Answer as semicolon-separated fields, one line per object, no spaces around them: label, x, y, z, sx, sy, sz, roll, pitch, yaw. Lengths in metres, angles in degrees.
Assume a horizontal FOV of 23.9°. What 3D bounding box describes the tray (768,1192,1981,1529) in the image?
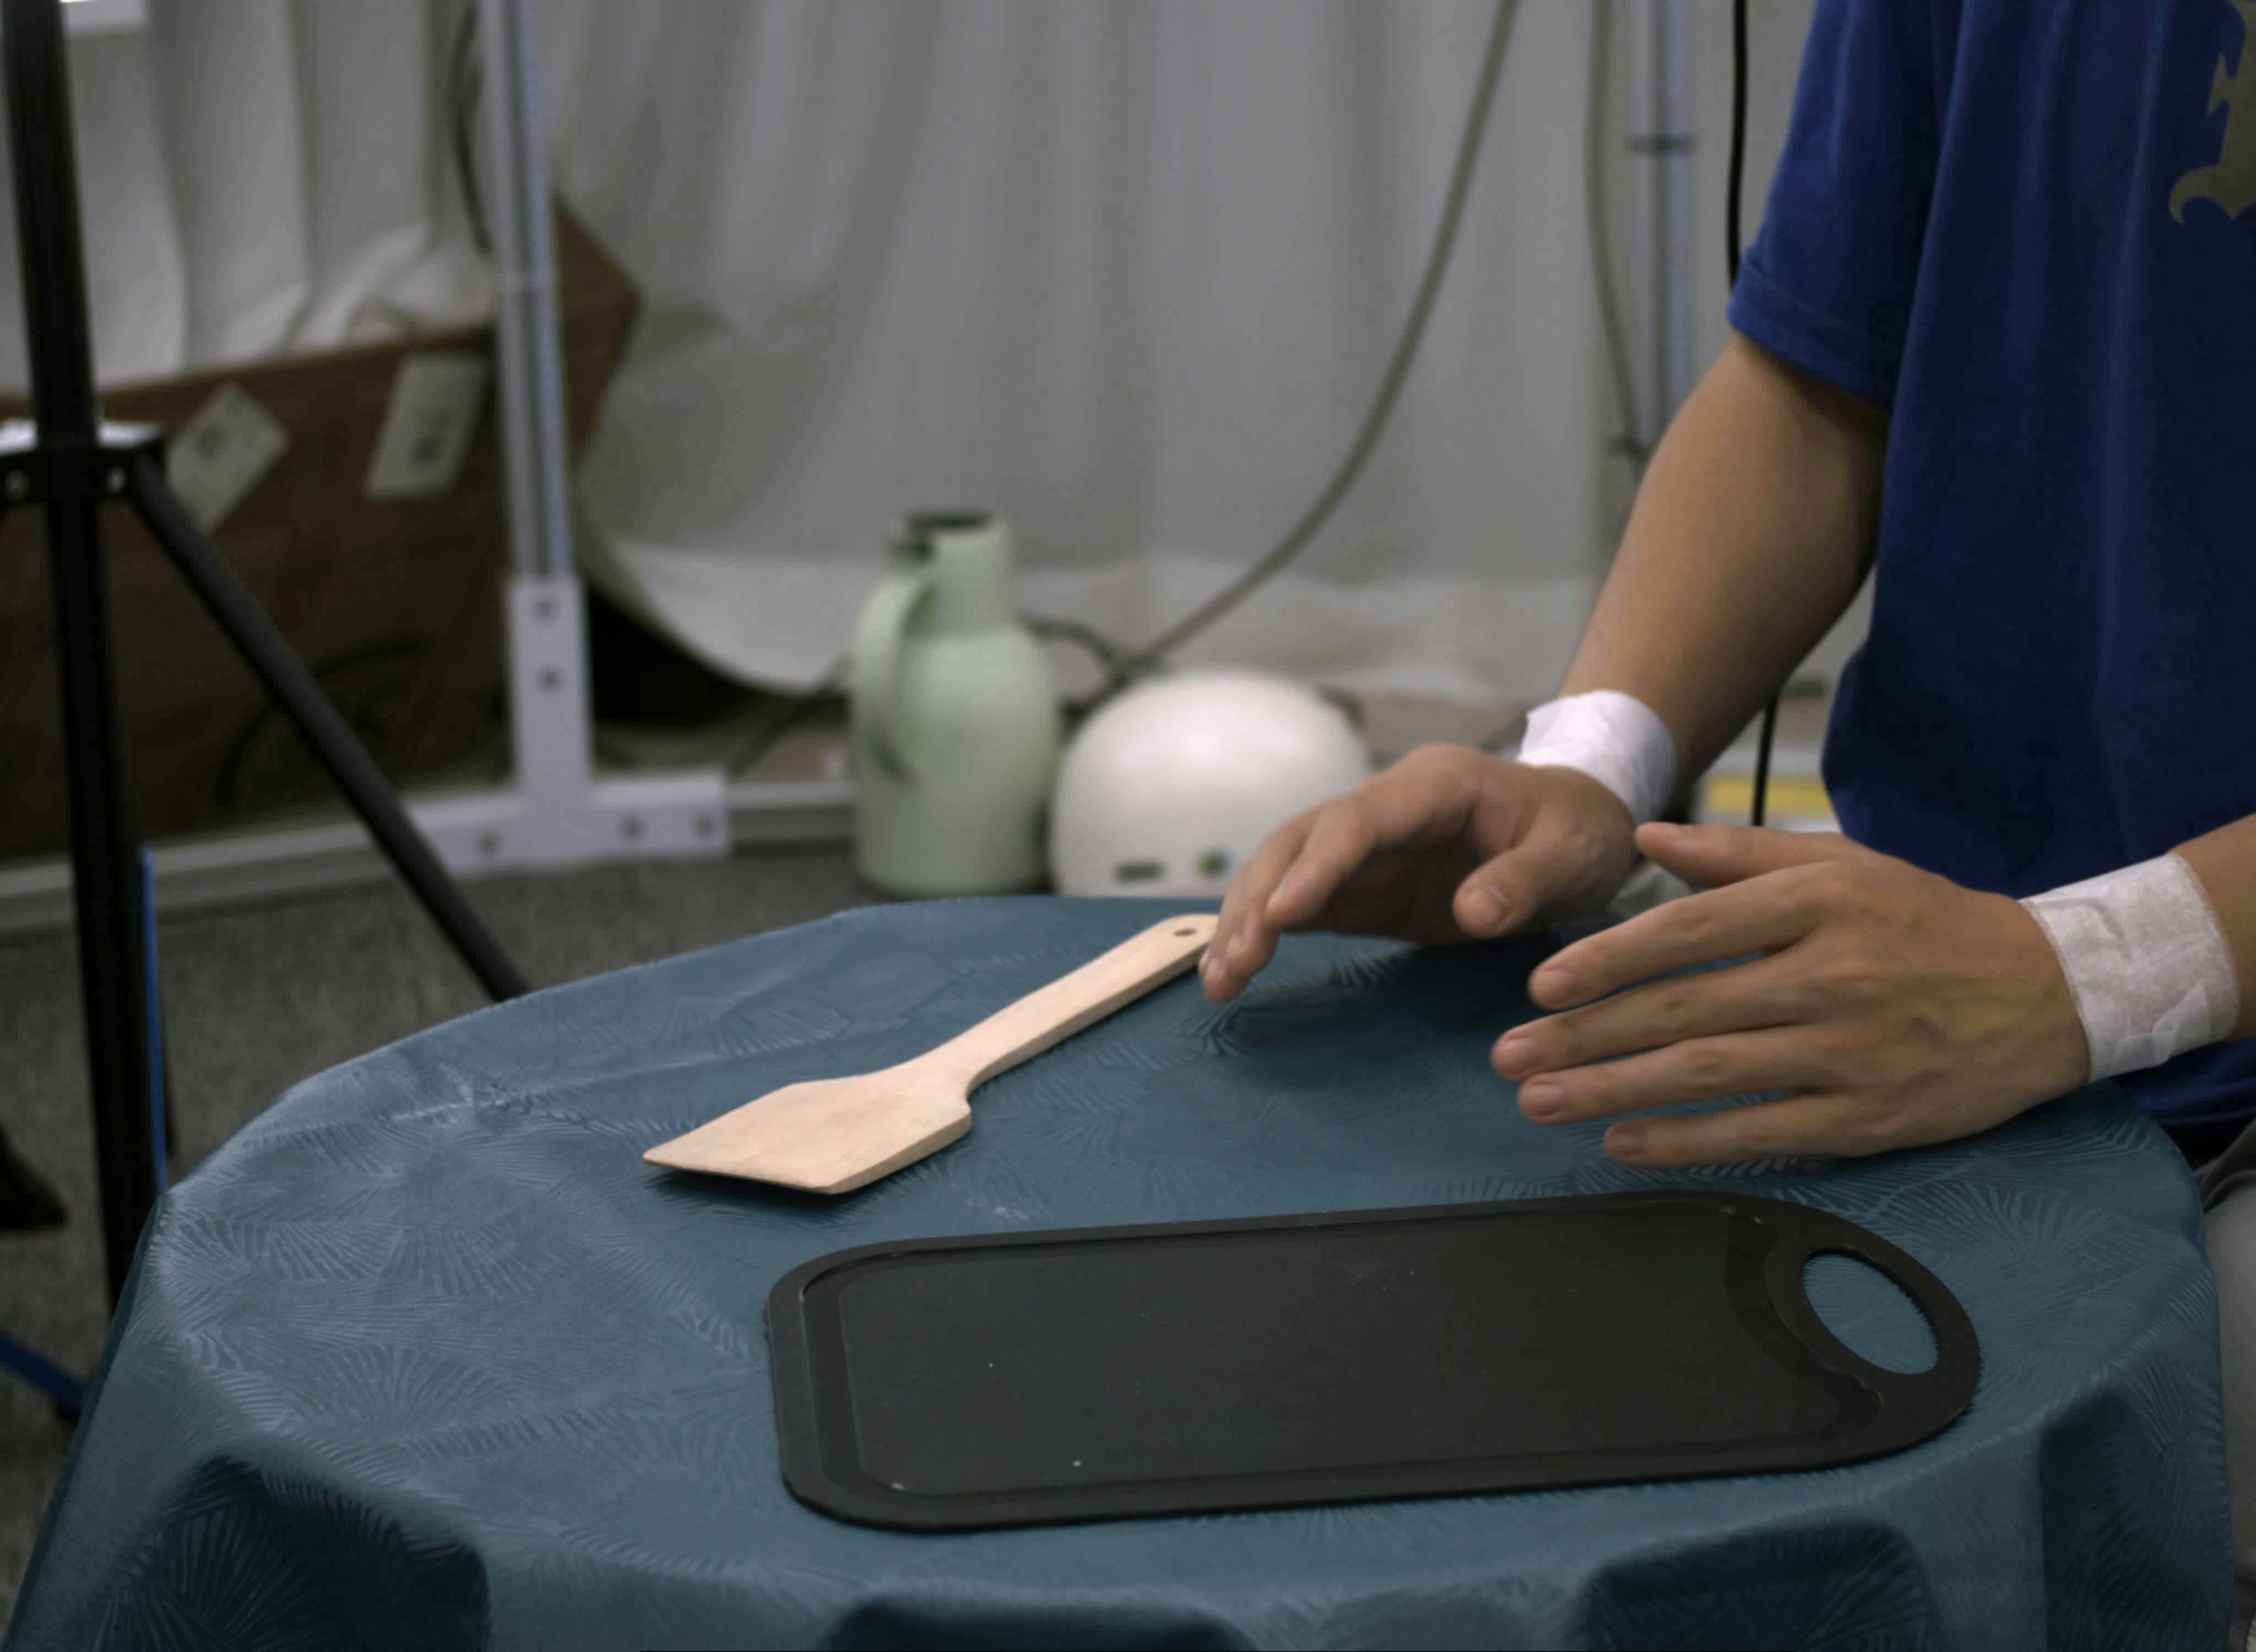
tray;0.066;0.139;1.425;0.323;0.010;0.212;-3;16;-2

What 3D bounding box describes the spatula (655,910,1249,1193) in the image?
spatula;-0.042;0.068;1.688;0.073;0.010;0.287;6;18;31
